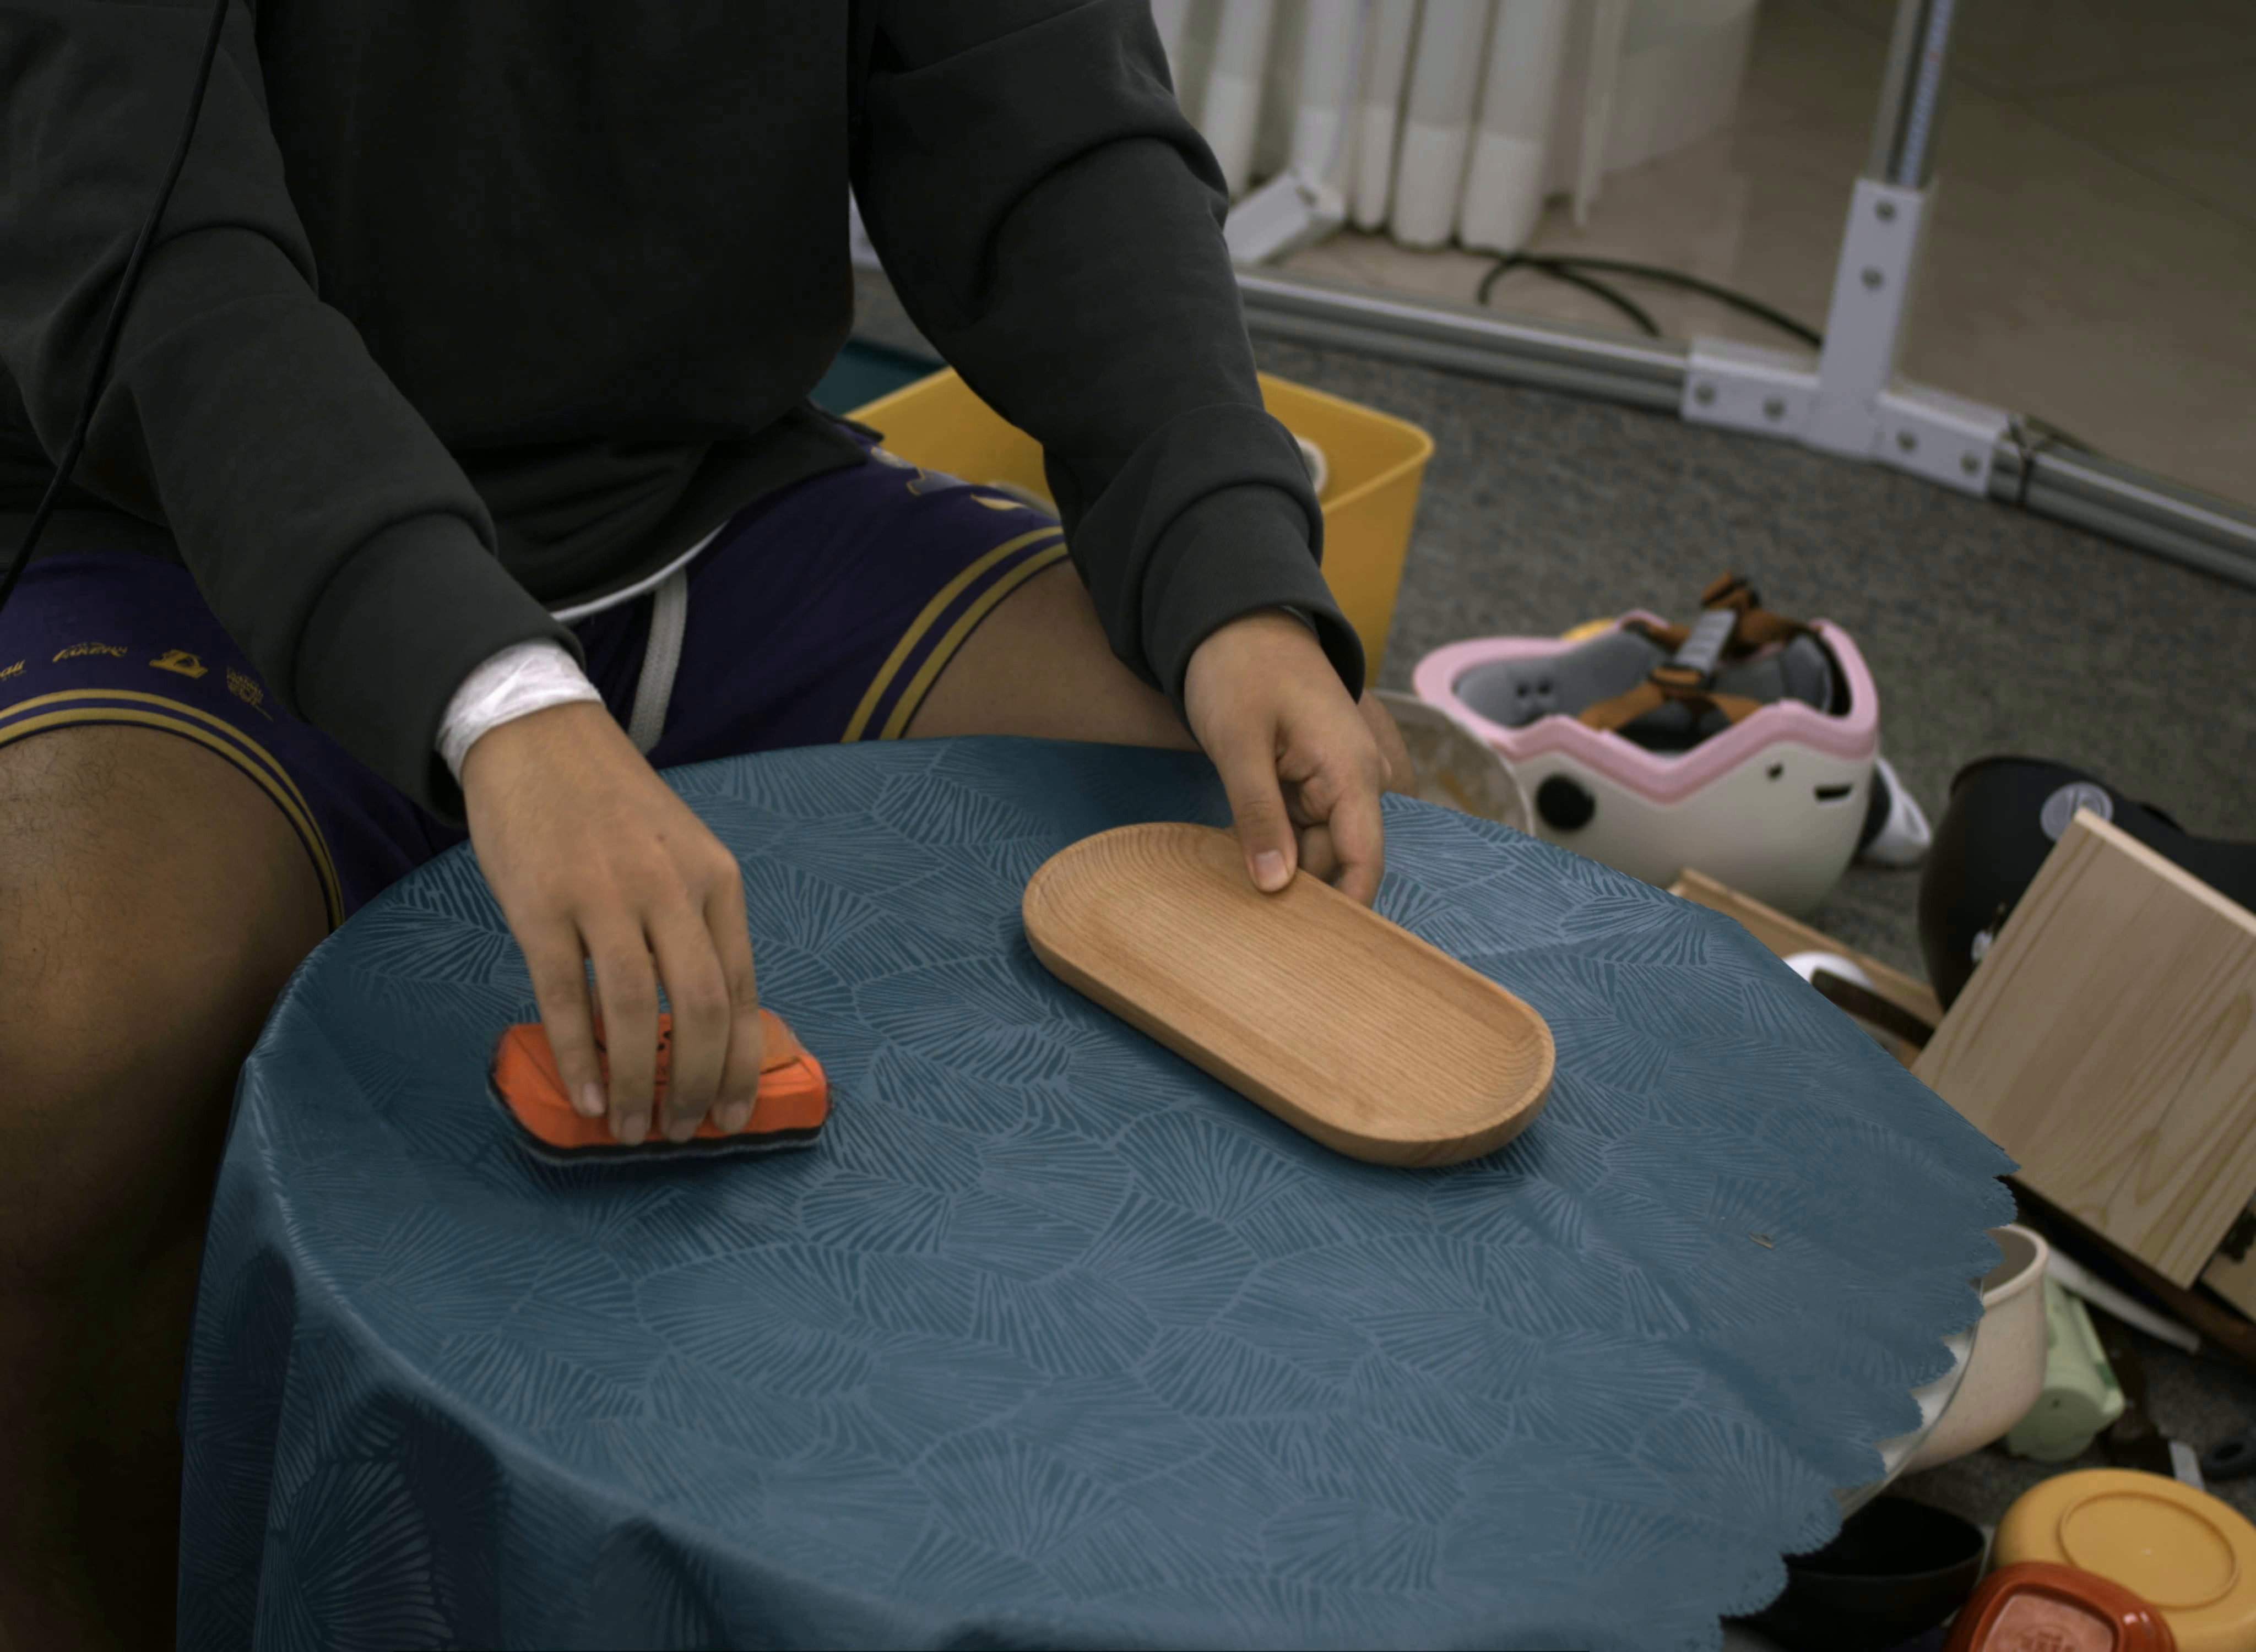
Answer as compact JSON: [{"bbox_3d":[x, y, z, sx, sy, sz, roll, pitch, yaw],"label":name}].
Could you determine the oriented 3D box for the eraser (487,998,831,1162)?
[{"bbox_3d":[-0.158,0.085,1.791,0.107,0.023,0.059,-2,38,-29],"label":"eraser"}]

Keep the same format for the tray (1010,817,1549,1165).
[{"bbox_3d":[0.052,0.058,1.907,0.101,0.020,0.233,-28,41,-34],"label":"tray"}]
